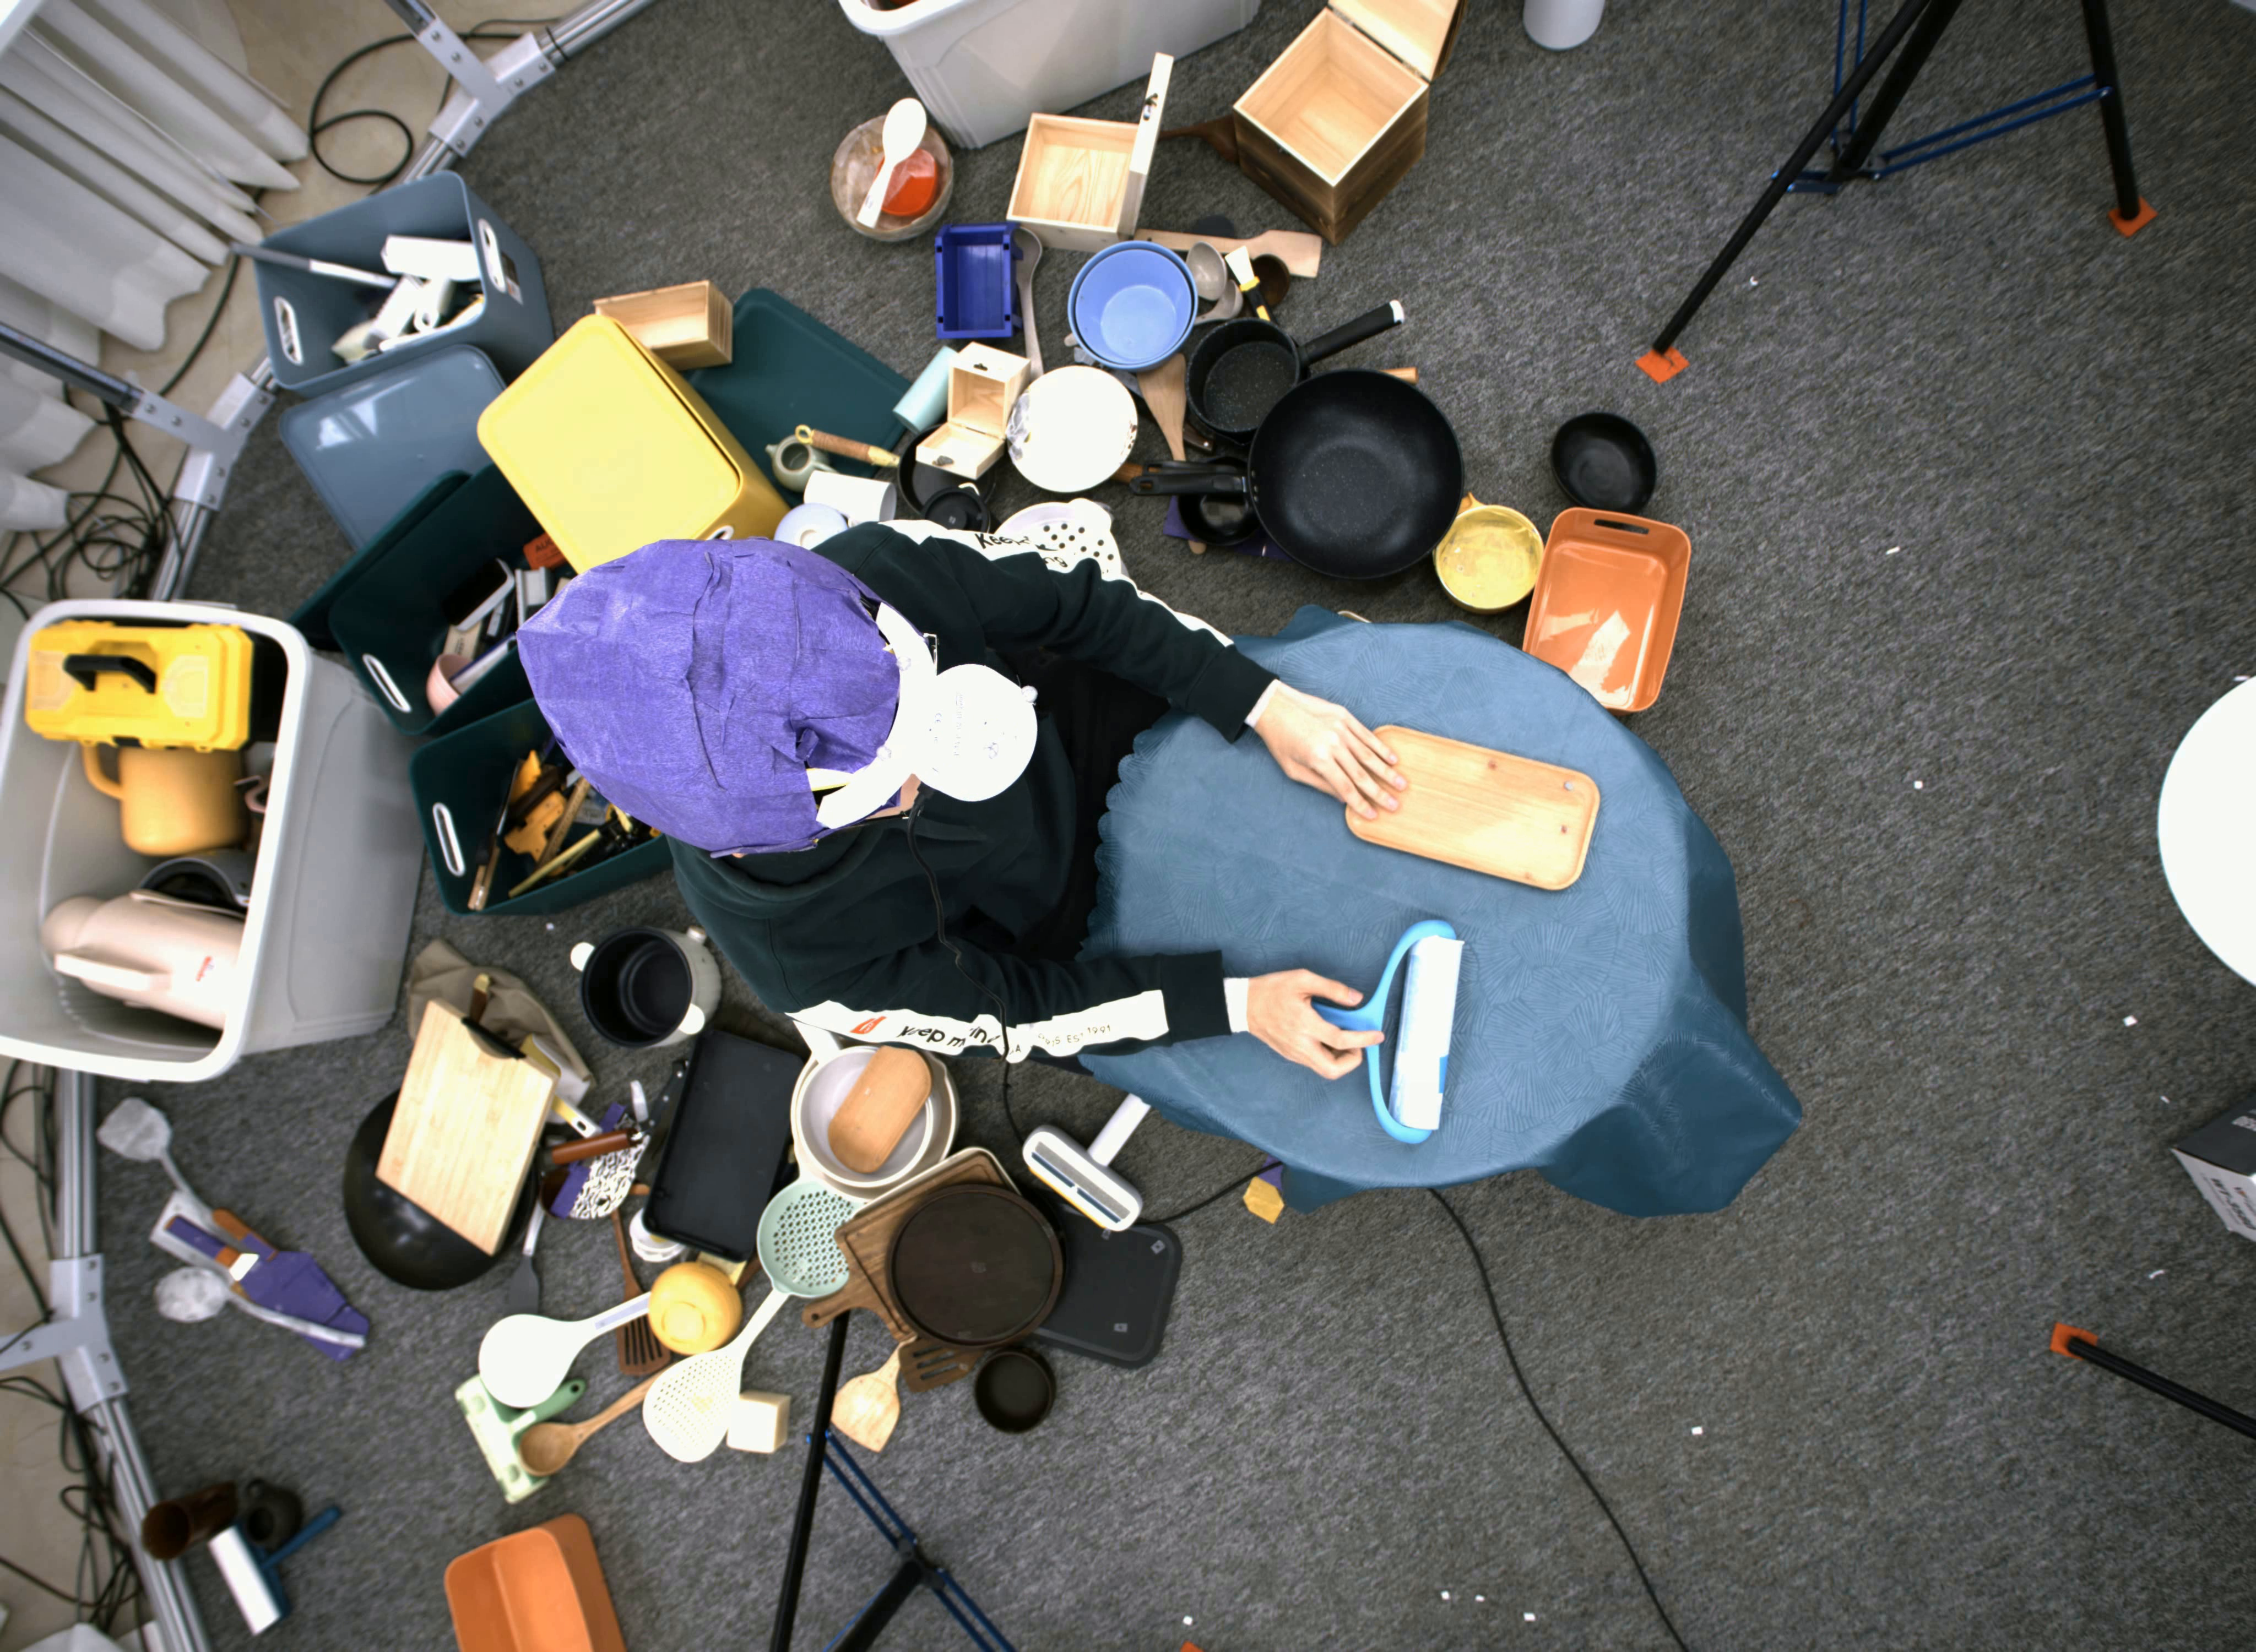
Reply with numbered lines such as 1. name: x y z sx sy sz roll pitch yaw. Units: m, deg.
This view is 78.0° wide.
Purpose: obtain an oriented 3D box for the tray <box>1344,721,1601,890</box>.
1. tray: 0.358 -0.023 1.435 0.251 0.023 0.130 16 88 11

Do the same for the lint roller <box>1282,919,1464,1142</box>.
1. lint roller: 0.247 0.203 1.424 0.181 0.068 0.228 5 89 9
